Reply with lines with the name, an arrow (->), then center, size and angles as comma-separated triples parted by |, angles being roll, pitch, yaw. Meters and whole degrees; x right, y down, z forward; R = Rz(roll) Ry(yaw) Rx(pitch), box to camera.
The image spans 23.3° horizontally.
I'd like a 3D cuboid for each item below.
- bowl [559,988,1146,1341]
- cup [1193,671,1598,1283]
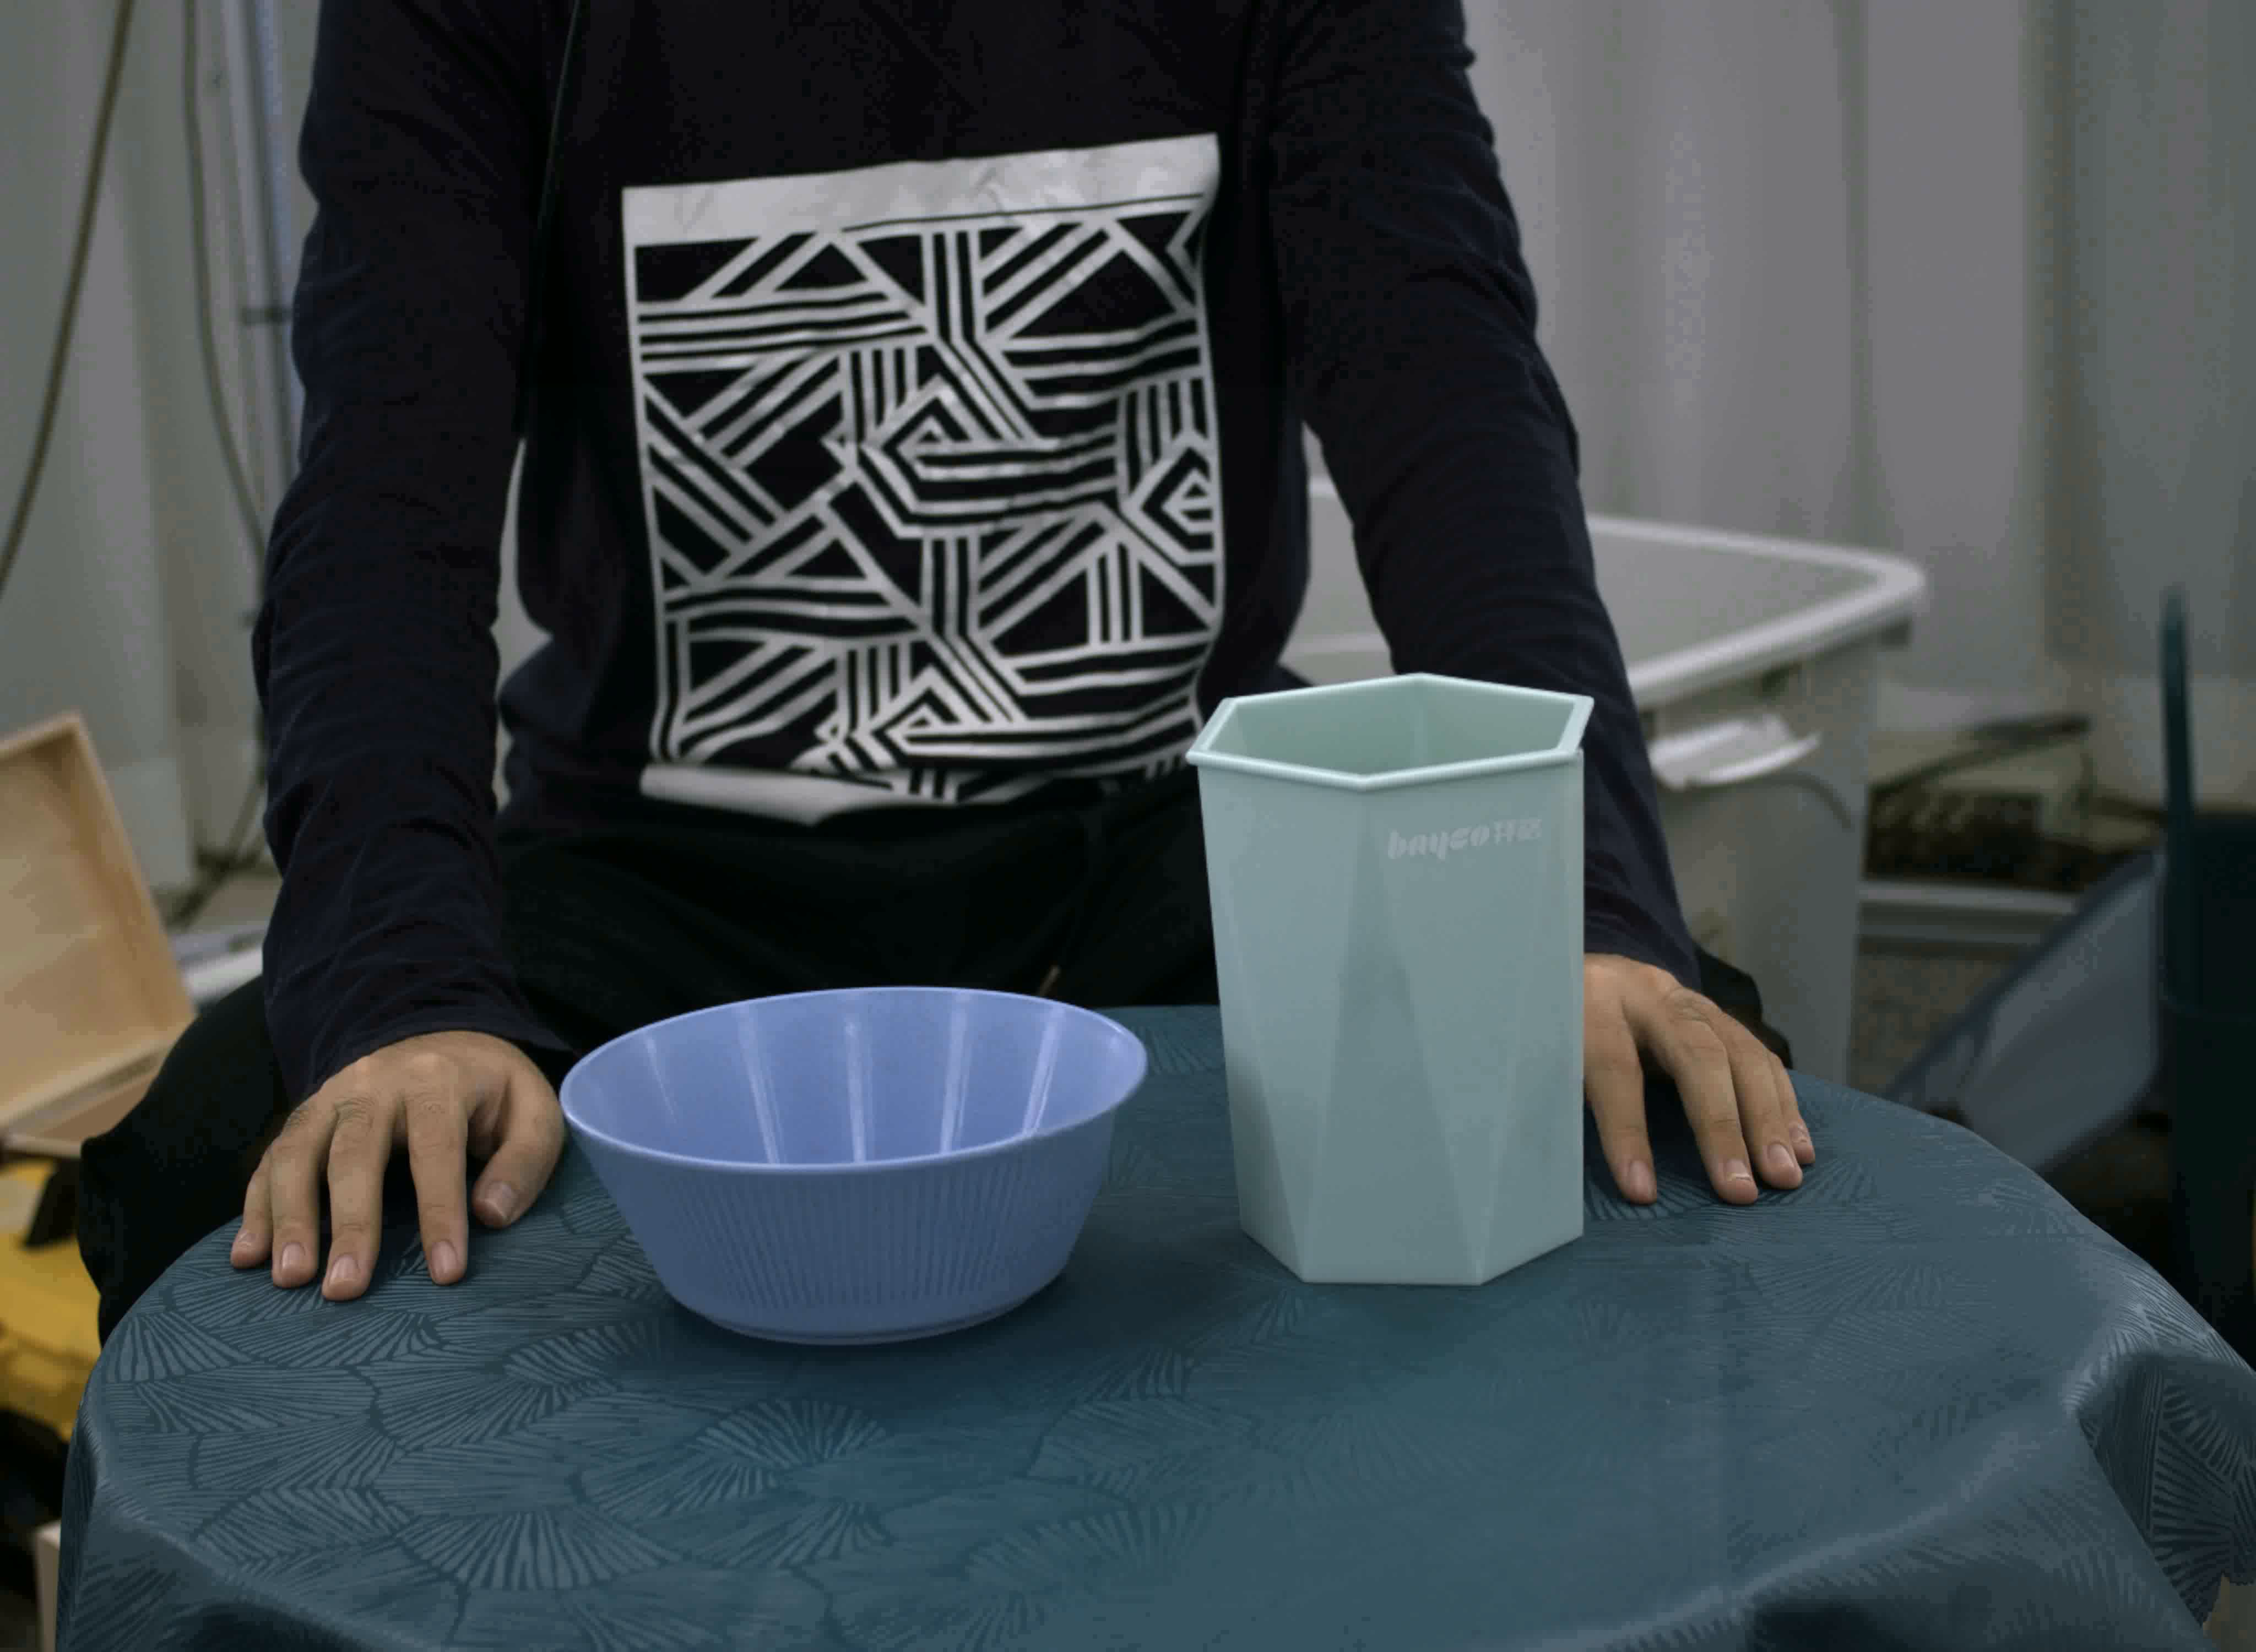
bowl -> -0.081, 0.104, 1.636 | 0.175, 0.070, 0.177 | -3, 15, 0
cup -> 0.084, 0.046, 1.644 | 0.130, 0.162, 0.116 | -7, 13, -20
